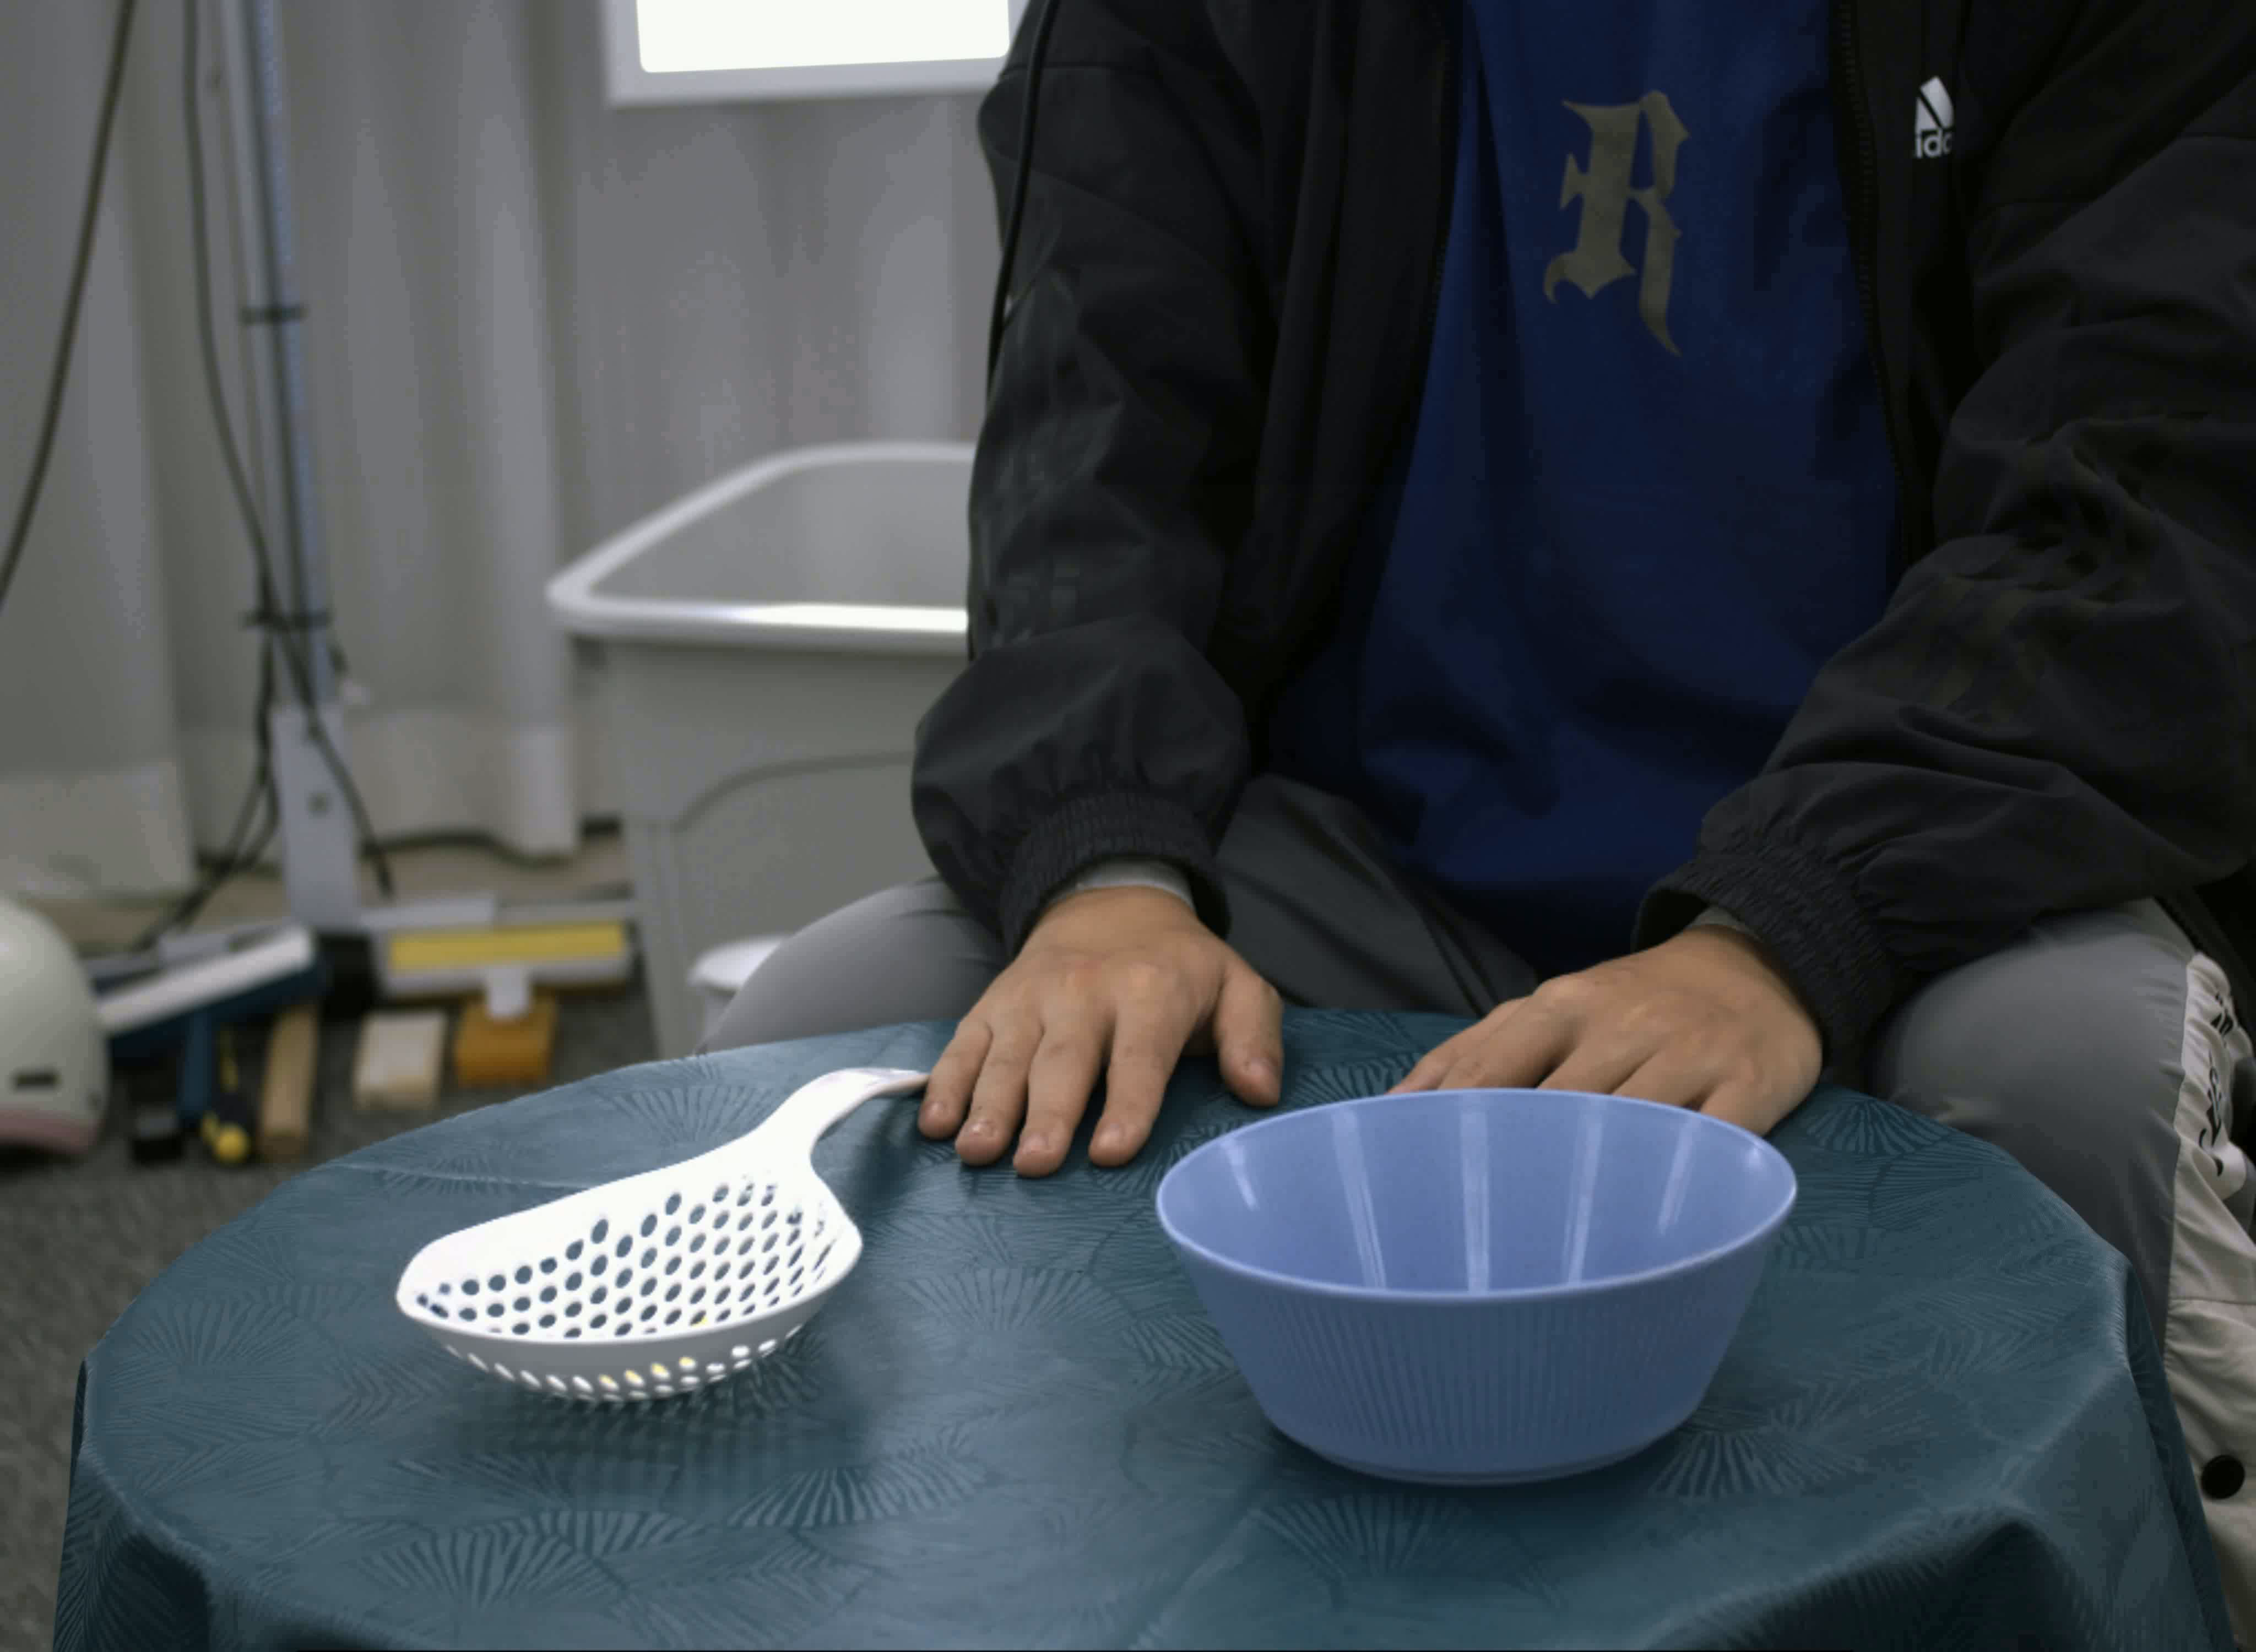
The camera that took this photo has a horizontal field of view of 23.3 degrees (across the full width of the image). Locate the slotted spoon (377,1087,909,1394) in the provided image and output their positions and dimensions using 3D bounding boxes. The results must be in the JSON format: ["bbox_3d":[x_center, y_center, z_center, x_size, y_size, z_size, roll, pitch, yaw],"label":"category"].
[{"bbox_3d":[-0.114,0.112,1.661,0.136,0.050,0.349,-3,14,15],"label":"slotted spoon"}]

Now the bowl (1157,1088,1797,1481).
[{"bbox_3d":[0.096,0.128,1.503,0.175,0.070,0.177,-2,14,0],"label":"bowl"}]
